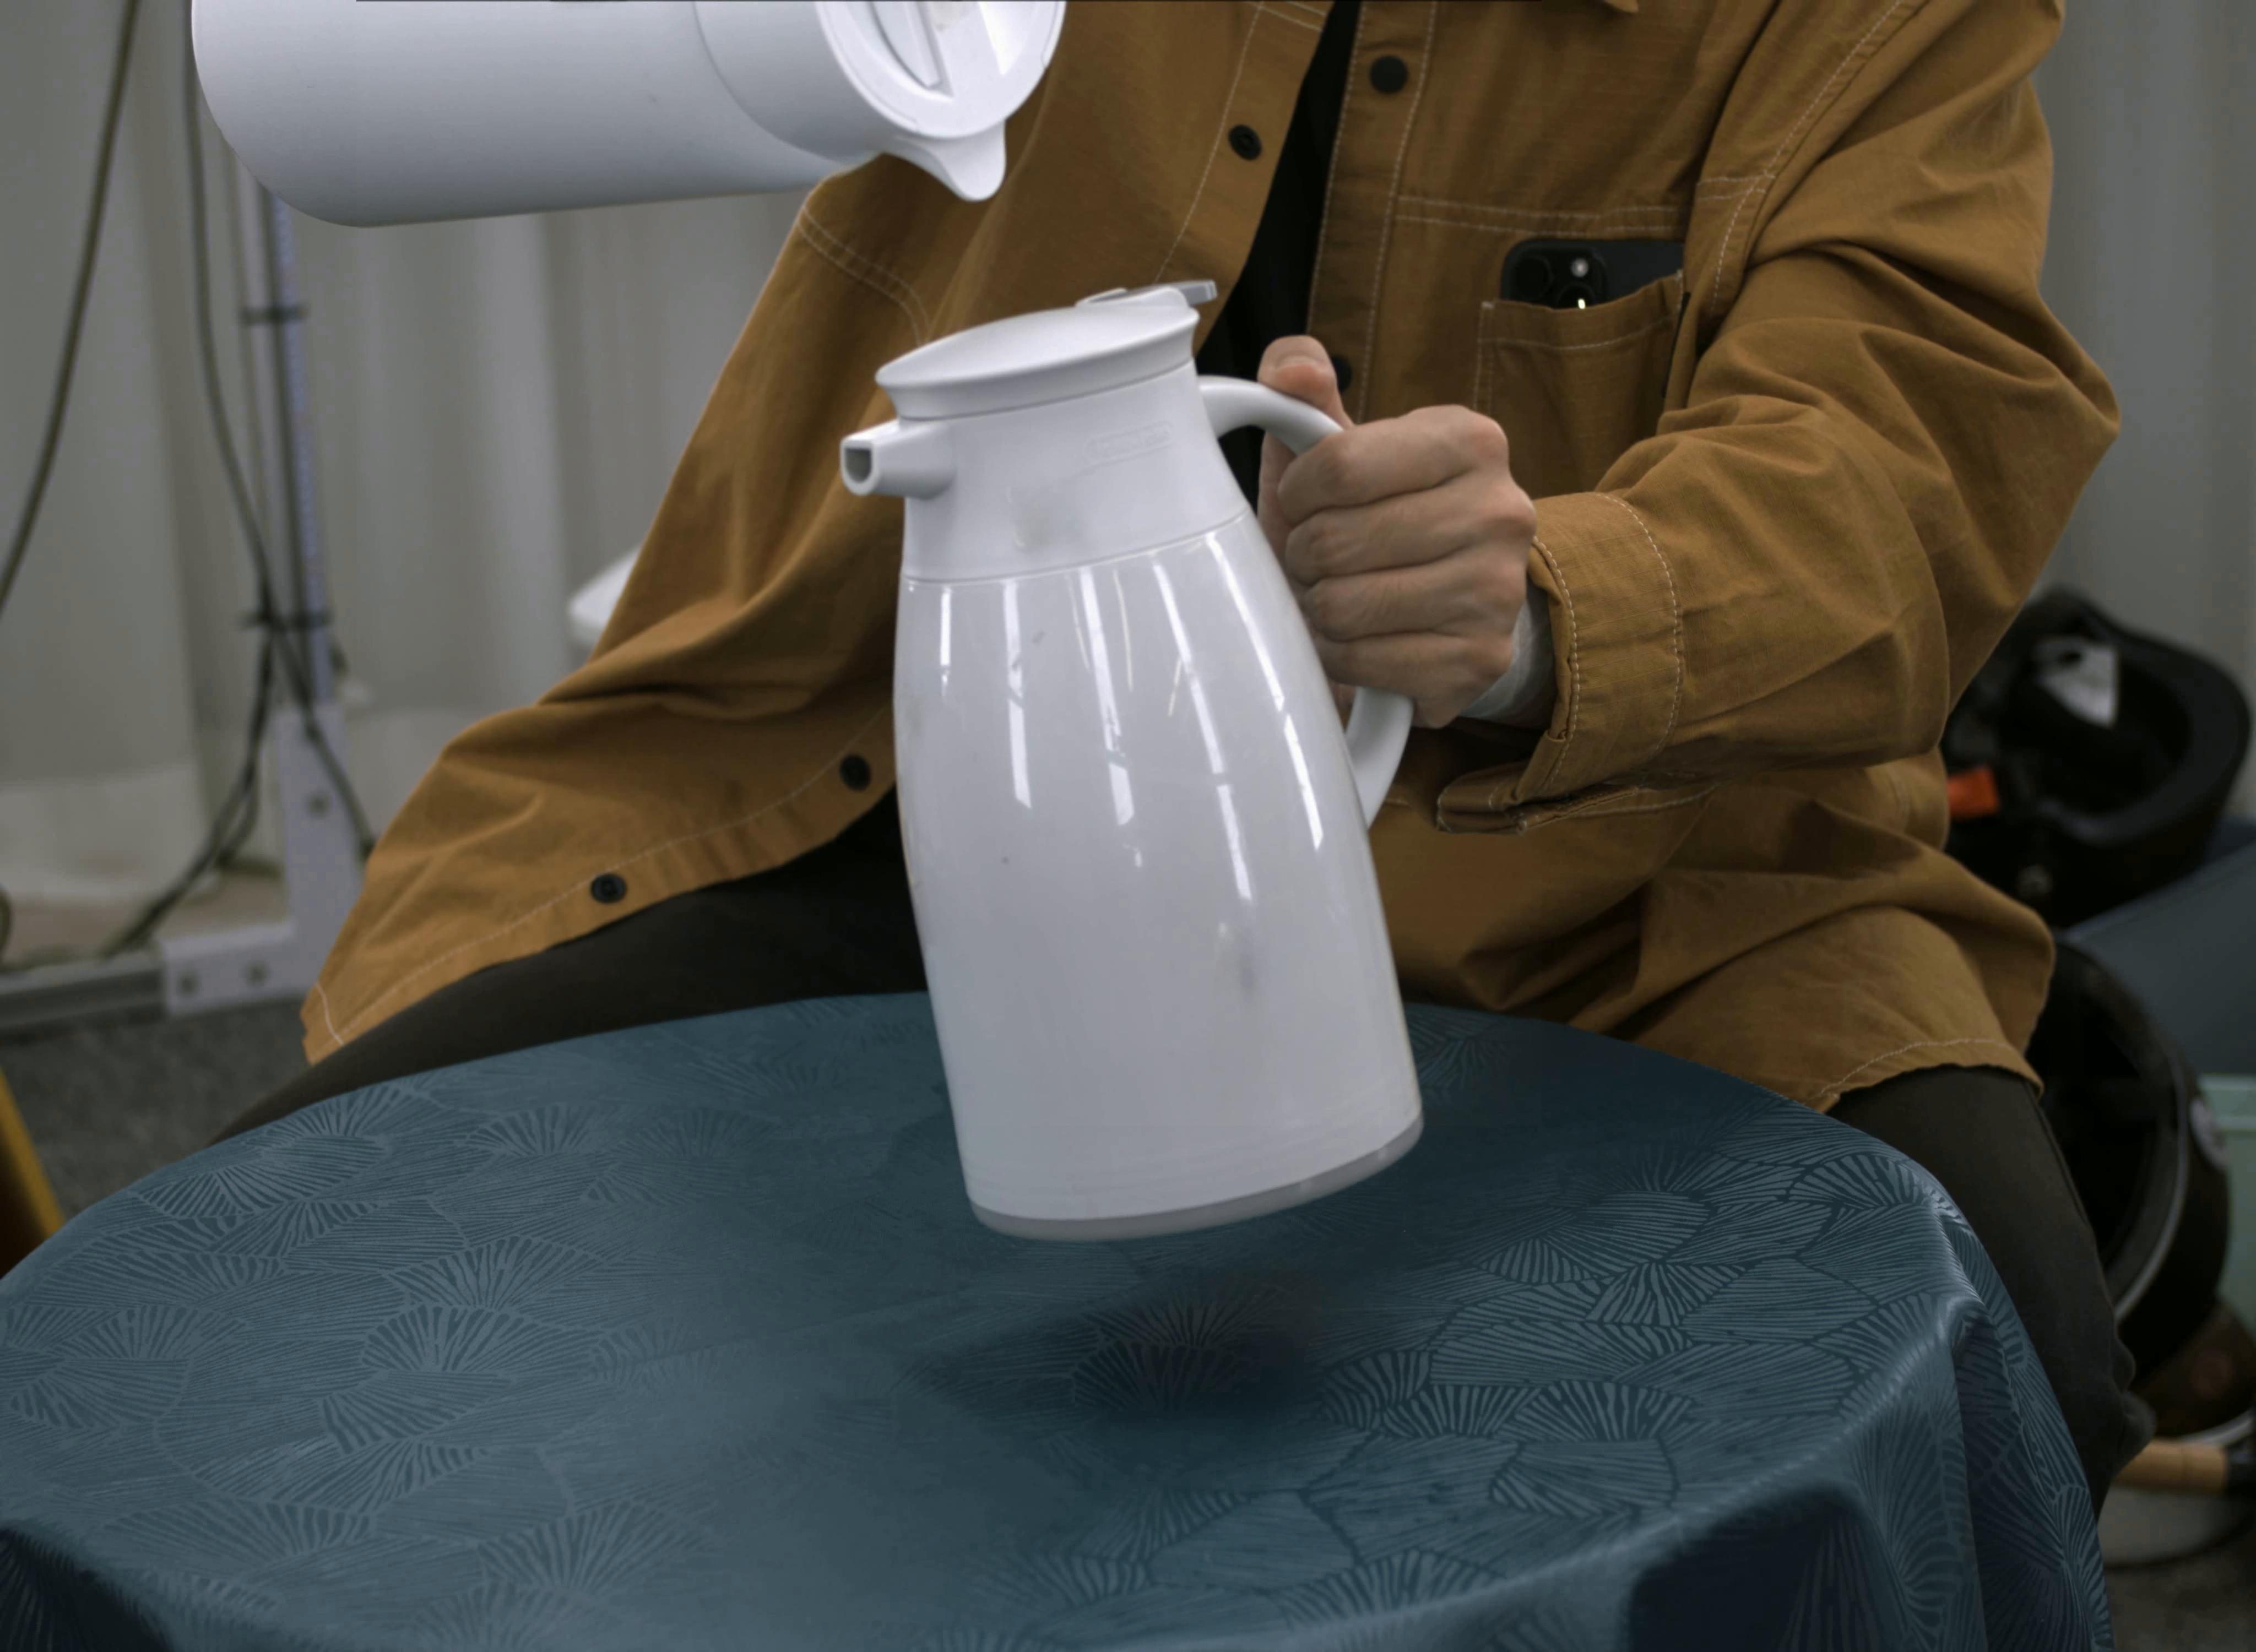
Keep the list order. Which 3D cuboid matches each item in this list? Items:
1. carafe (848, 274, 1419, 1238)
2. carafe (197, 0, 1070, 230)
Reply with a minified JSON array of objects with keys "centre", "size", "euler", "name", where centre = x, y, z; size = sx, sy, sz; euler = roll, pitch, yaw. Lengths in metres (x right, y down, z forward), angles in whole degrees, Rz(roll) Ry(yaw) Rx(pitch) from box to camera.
[{"centre":[0.012,-0.028,1.542],"size":[0.167,0.248,0.133],"euler":[-16,11,-30],"name":"carafe"},{"centre":[-0.149,-0.252,1.566],"size":[0.269,0.172,0.124],"euler":[1,26,46],"name":"carafe"}]
